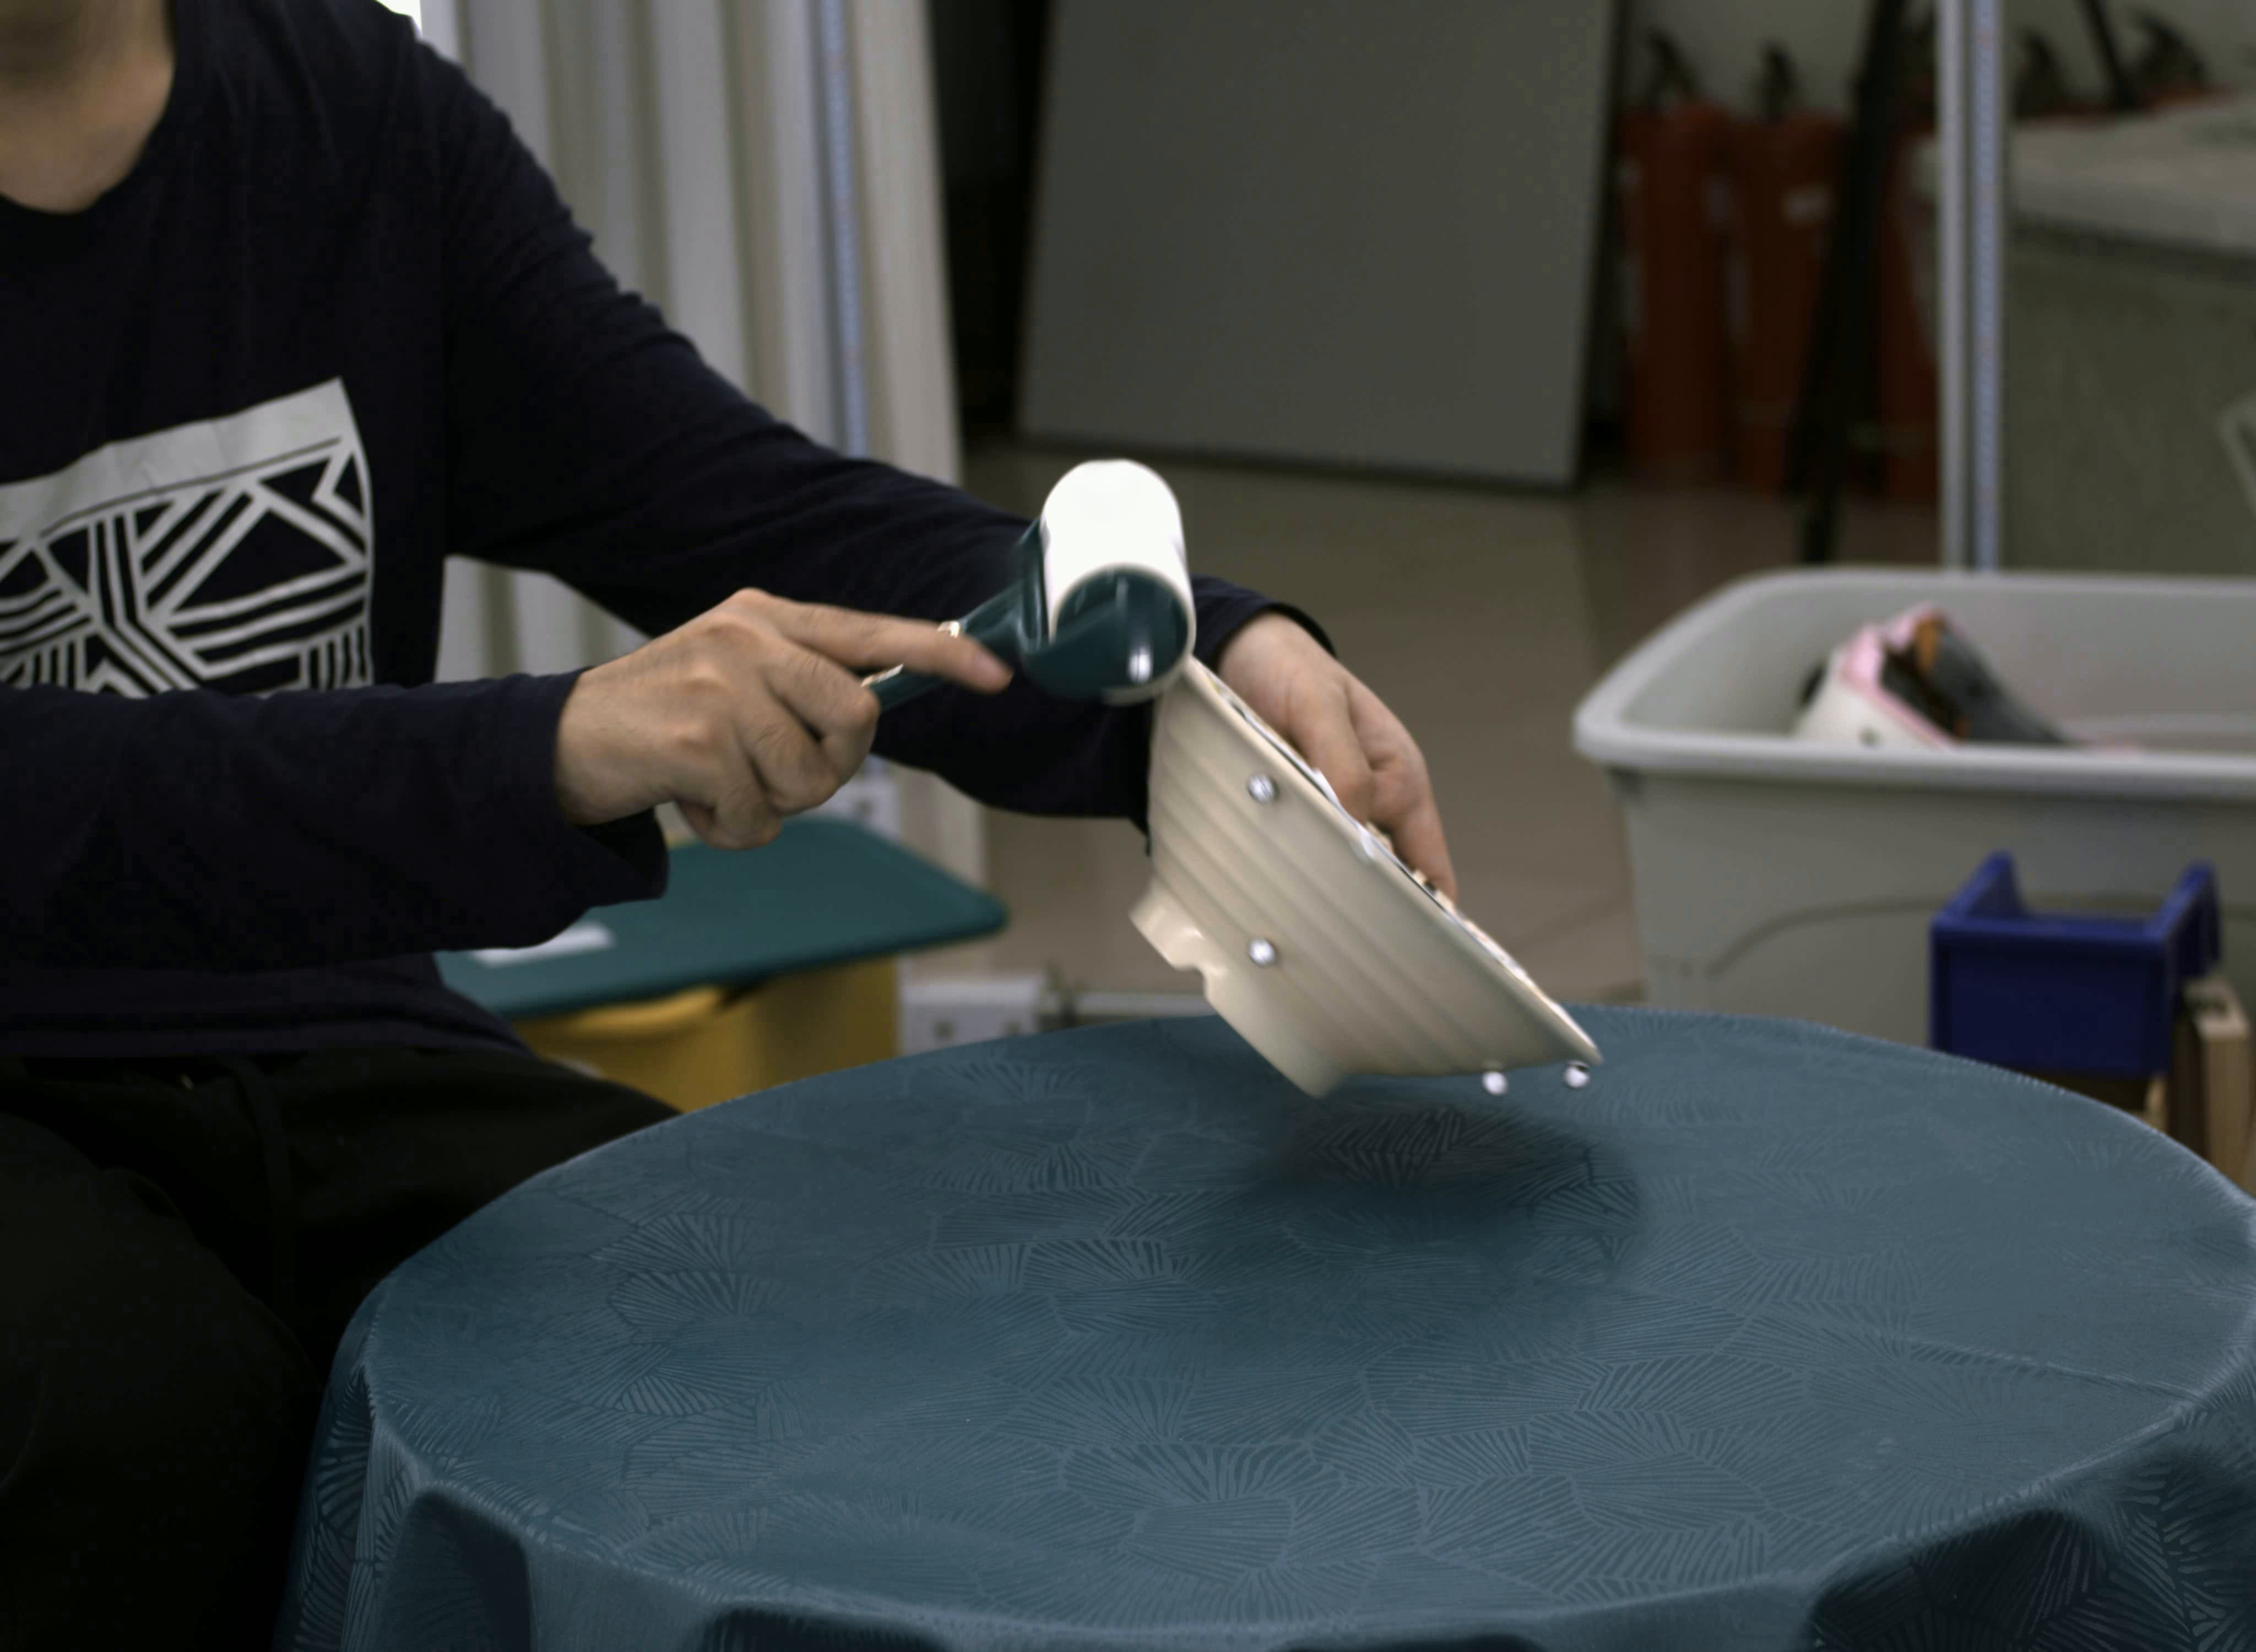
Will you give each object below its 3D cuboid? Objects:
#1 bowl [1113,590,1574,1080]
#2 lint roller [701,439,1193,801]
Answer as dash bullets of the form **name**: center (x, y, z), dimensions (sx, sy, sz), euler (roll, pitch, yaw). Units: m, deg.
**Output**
- **bowl**: center (0.052, 0.025, 1.754), dimensions (0.078, 0.203, 0.205), euler (-41, 18, -3)
- **lint roller**: center (-0.065, -0.063, 1.749), dimensions (0.179, 0.048, 0.134), euler (-22, 18, 6)
